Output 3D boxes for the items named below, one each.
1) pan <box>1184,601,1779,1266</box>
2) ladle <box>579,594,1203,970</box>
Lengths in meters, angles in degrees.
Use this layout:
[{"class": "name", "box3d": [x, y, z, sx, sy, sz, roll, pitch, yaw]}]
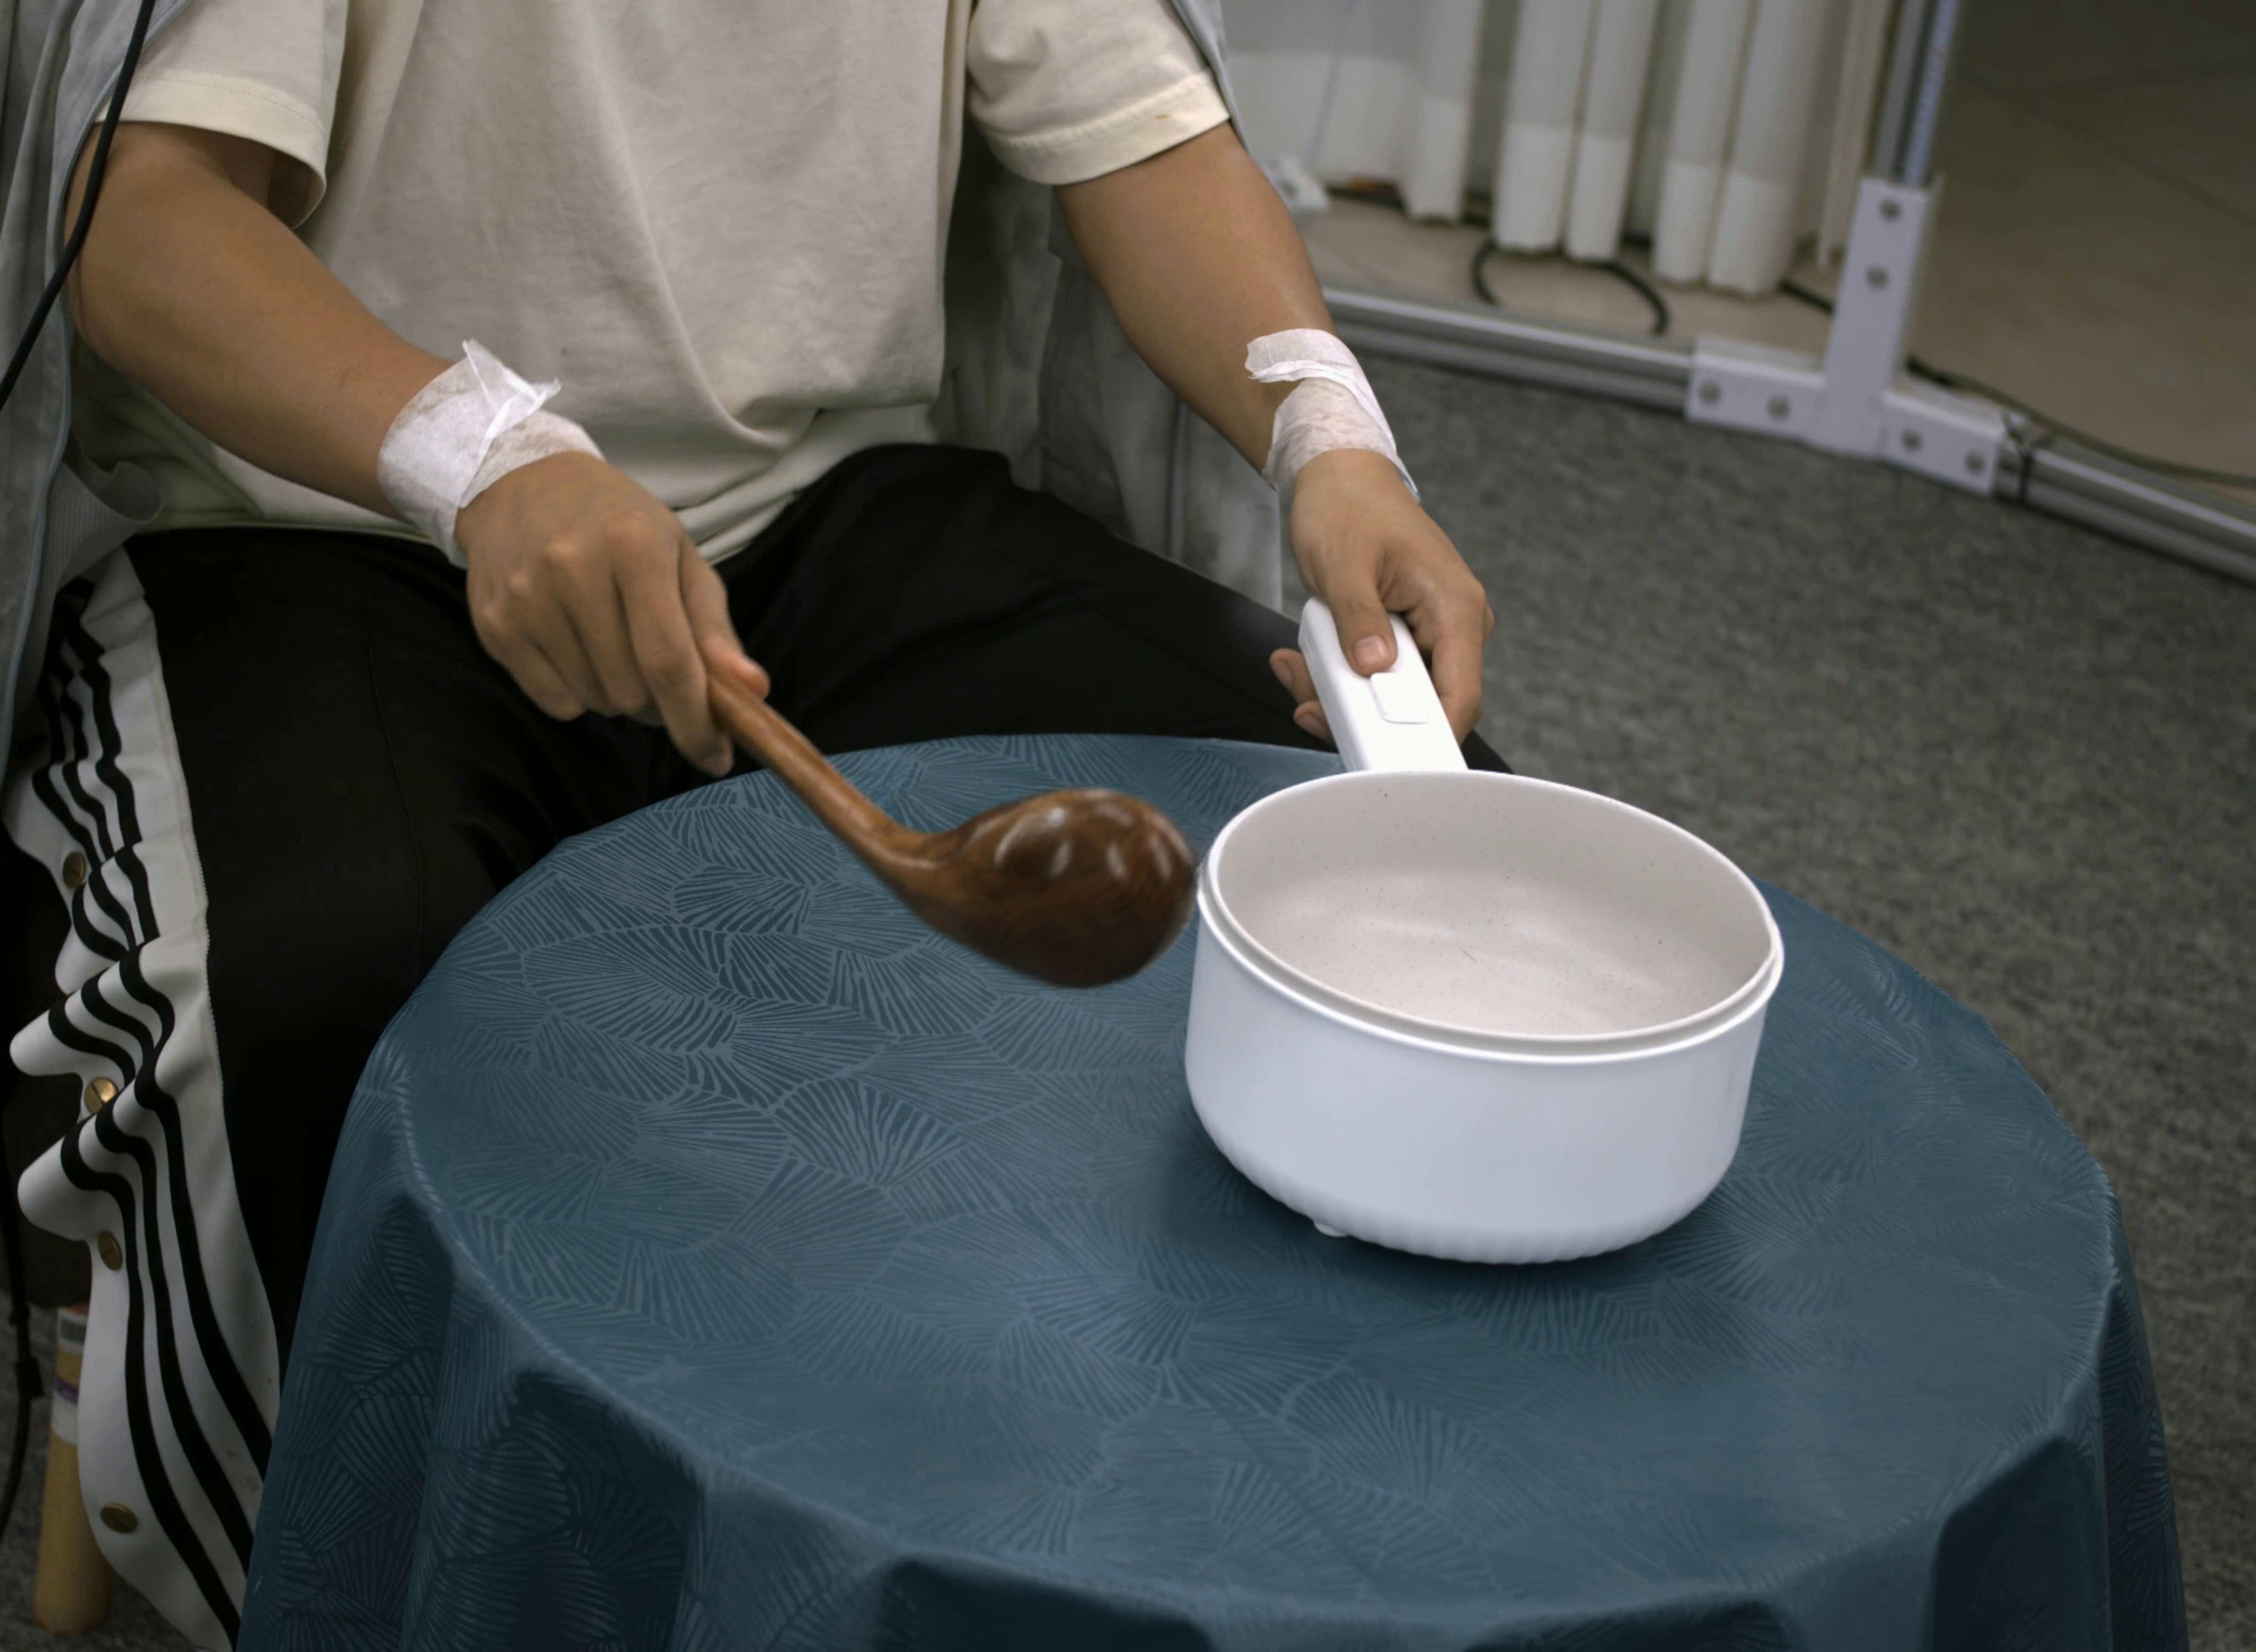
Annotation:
[{"class": "pan", "box3d": [0.107, 0.035, 1.897, 0.200, 0.102, 0.357, 1, 26, -9]}, {"class": "ladle", "box3d": [-0.080, -0.033, 1.761, 0.076, 0.081, 0.276, -32, 43, -22]}]
